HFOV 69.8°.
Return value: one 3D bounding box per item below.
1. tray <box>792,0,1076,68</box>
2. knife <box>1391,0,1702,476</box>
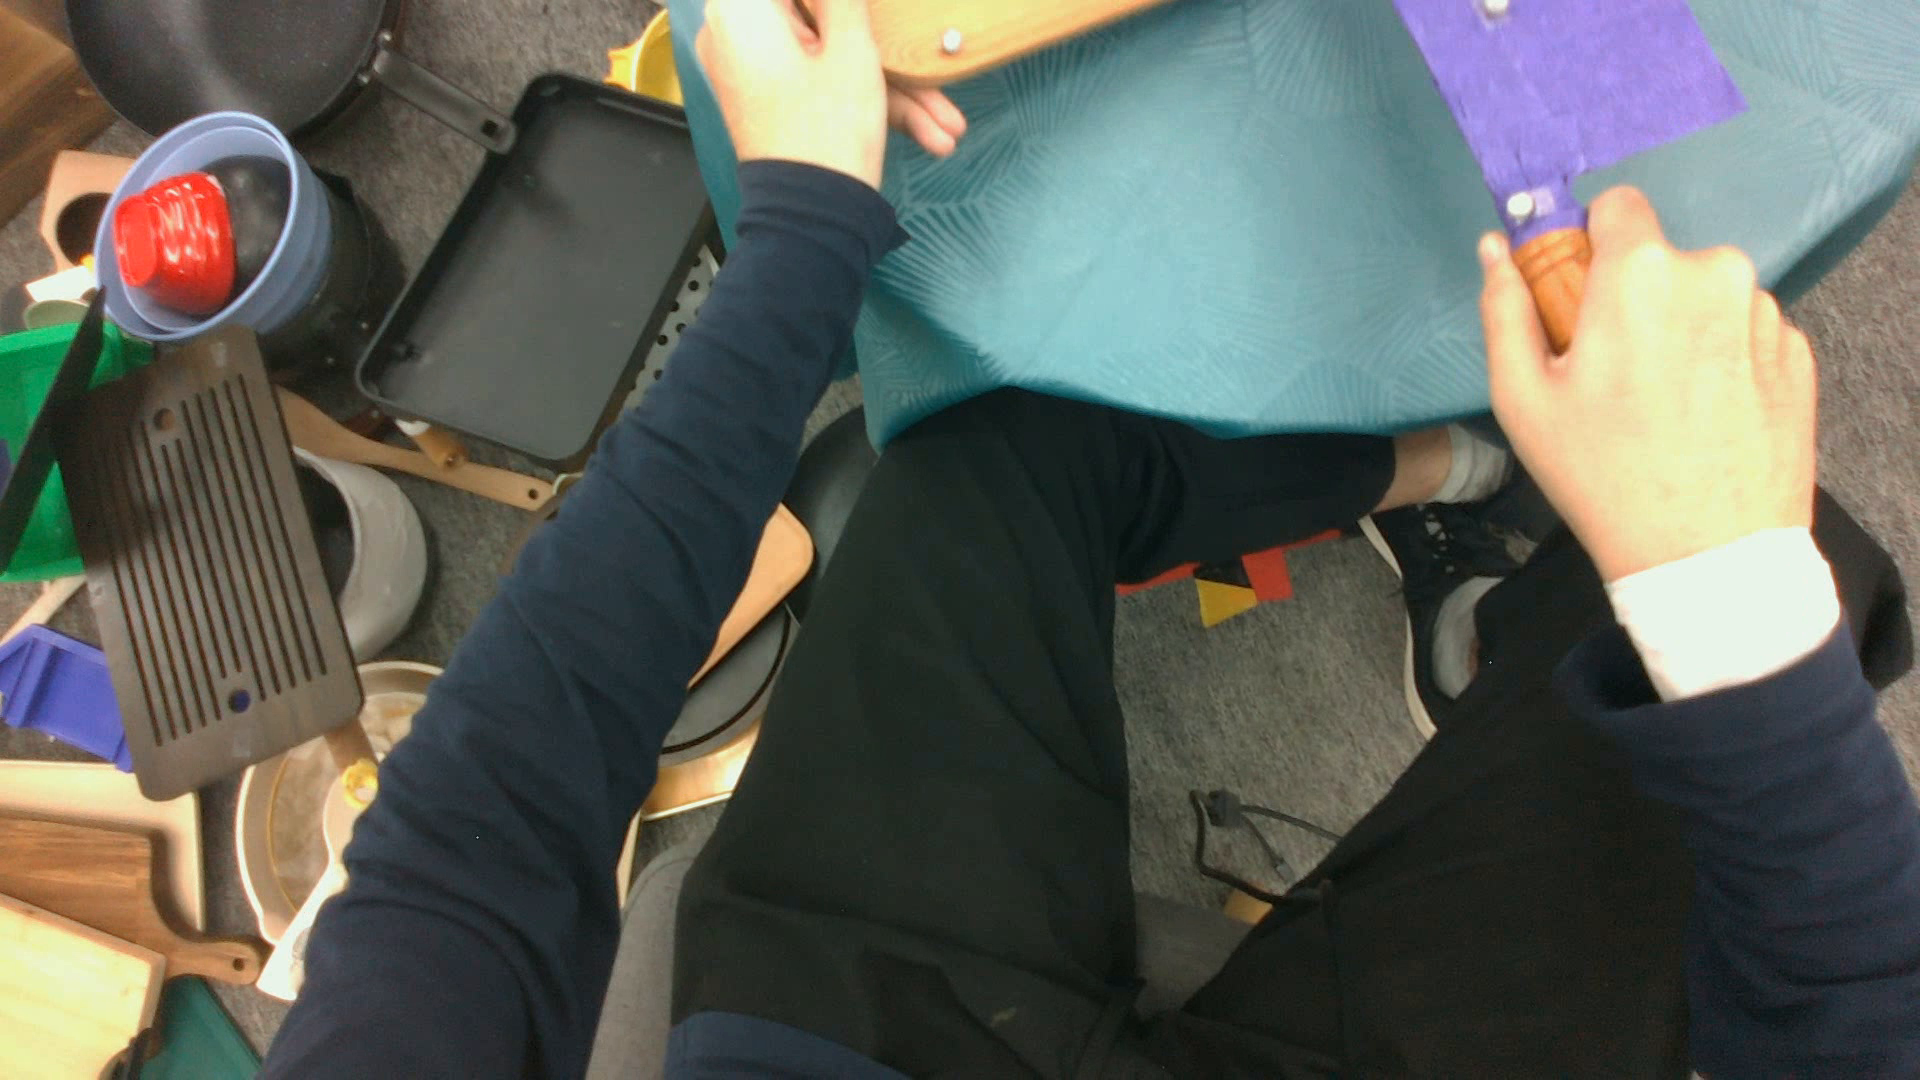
[{"bbox_3d":[0.029,-0.268,0.564,0.232,0.020,0.101,-32,89,-18],"label":"tray"},{"bbox_3d":[0.192,-0.179,0.467,0.104,0.032,0.315,-21,81,-7],"label":"knife"}]
